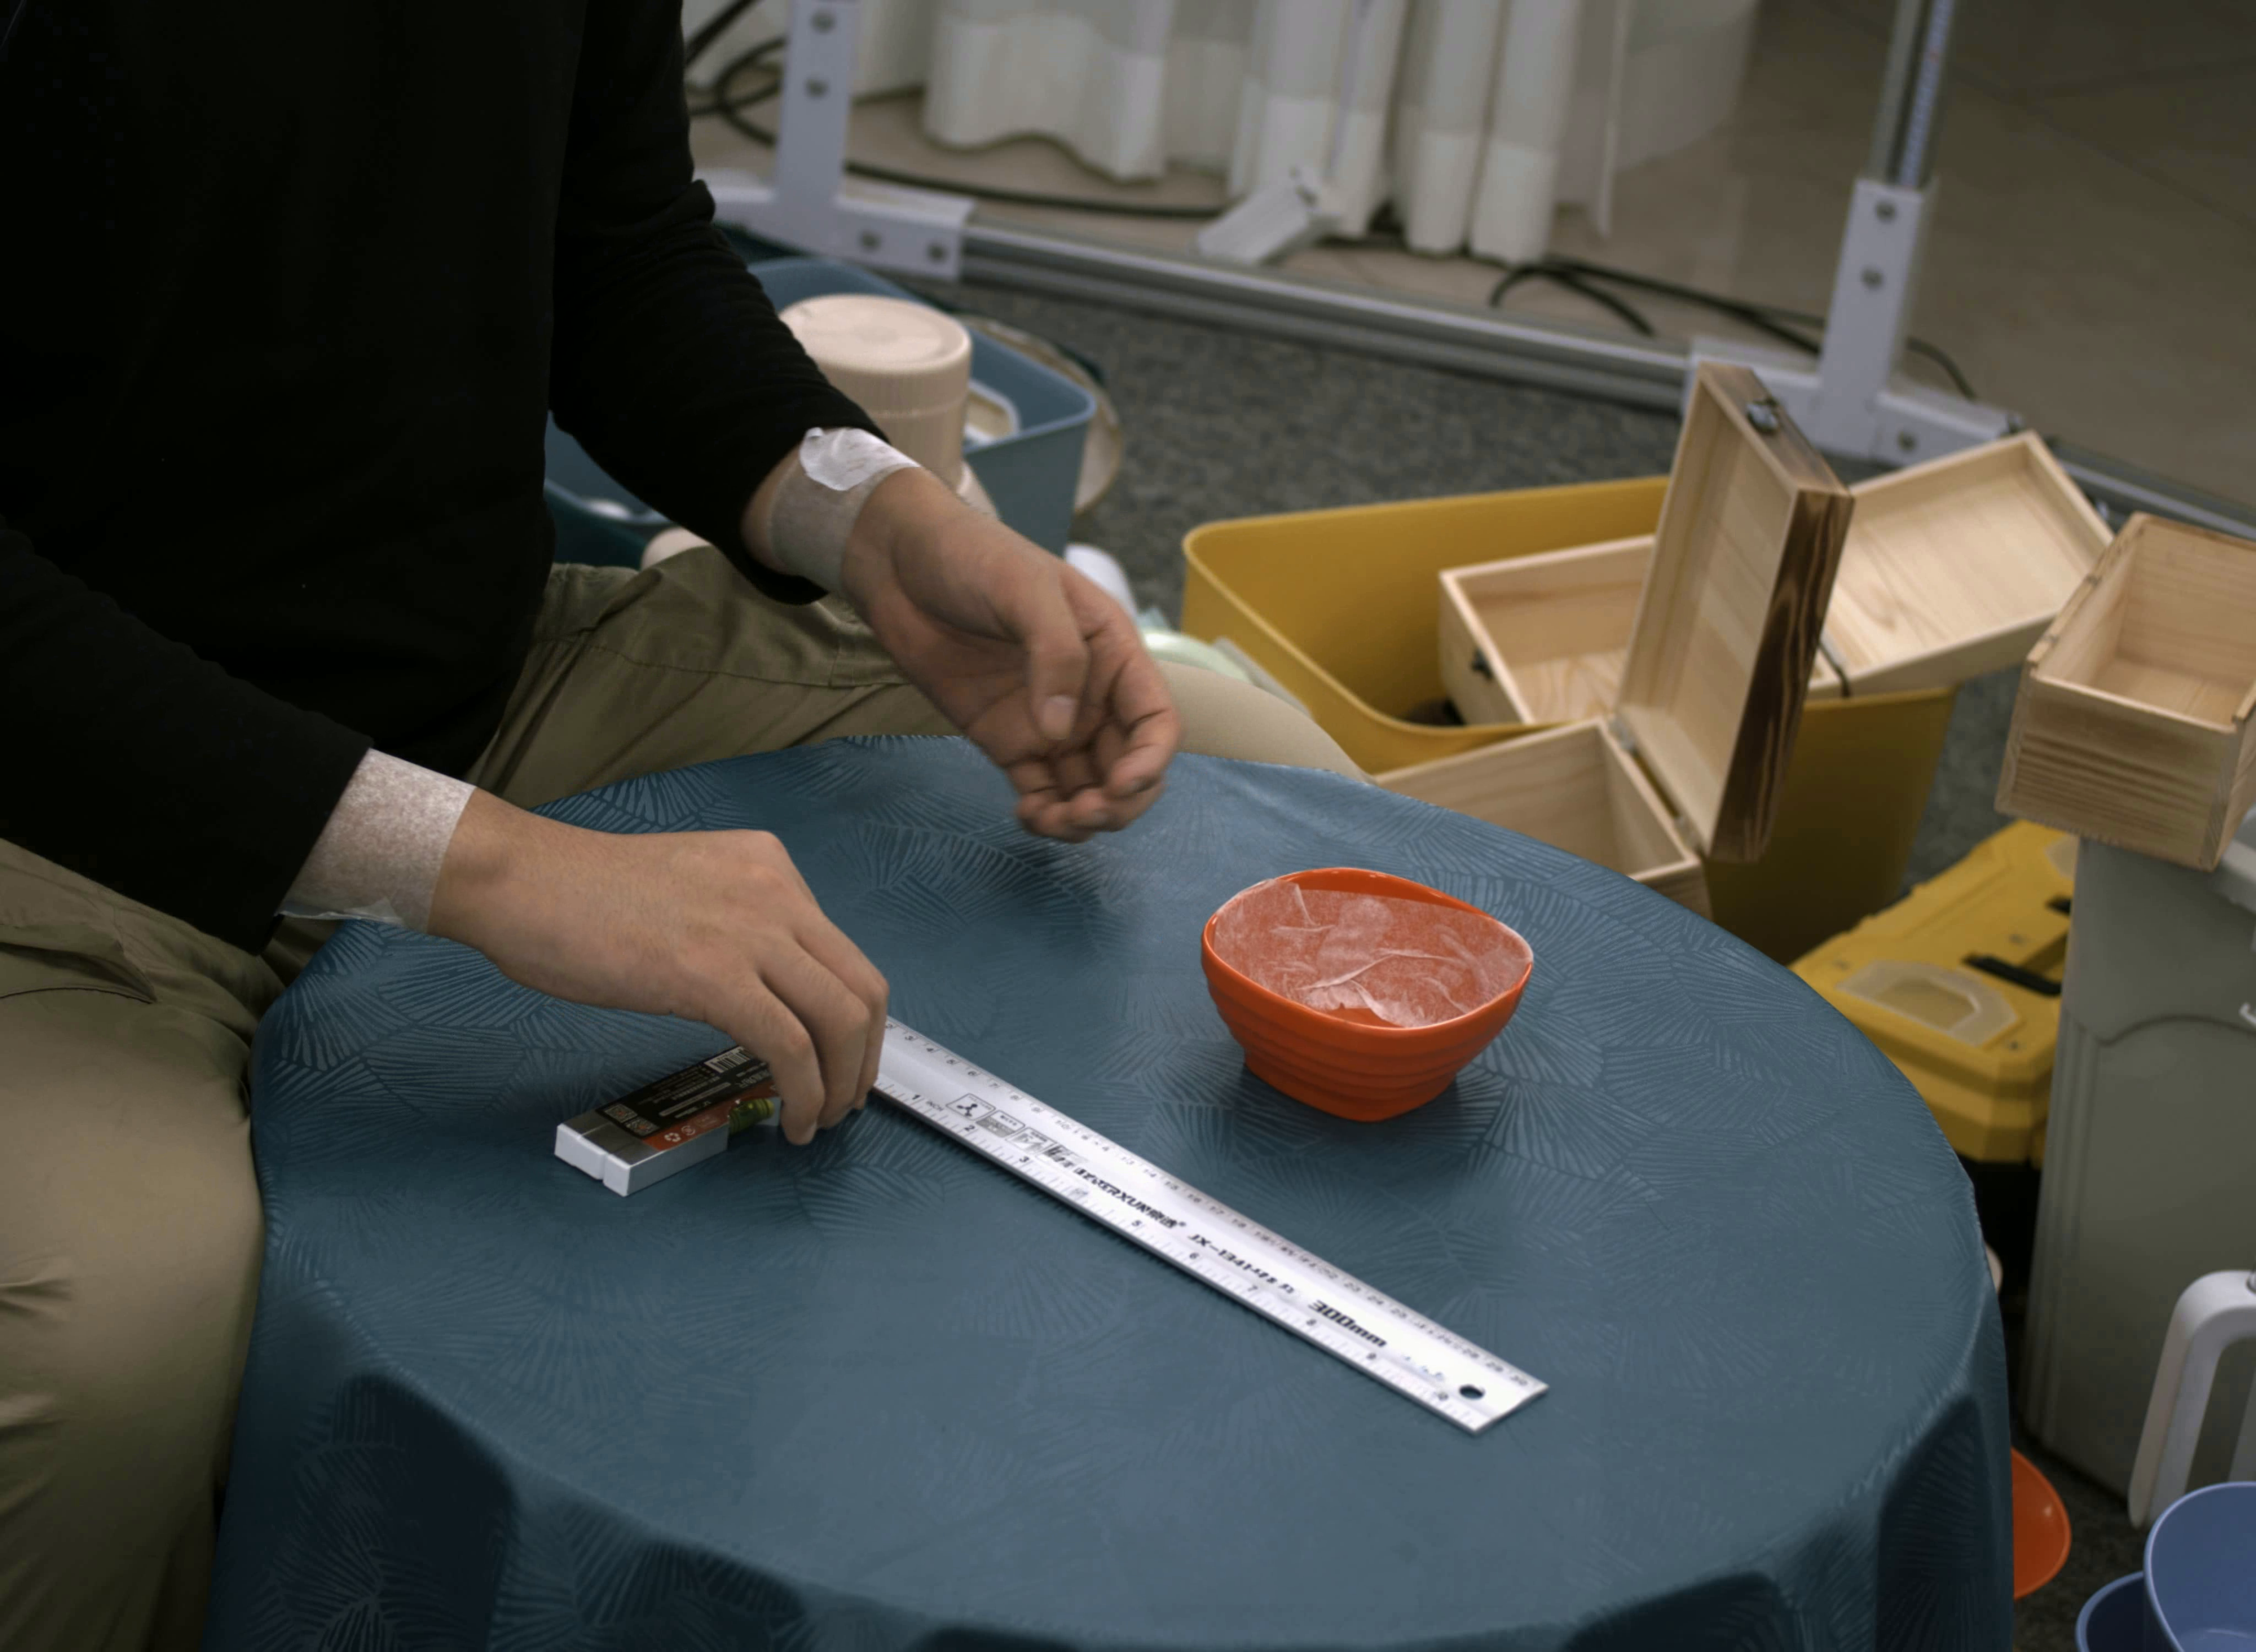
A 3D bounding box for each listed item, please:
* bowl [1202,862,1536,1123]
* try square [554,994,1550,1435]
[{"bbox_3d":[0.082,0.063,1.881,0.118,0.051,0.119,5,29,-3],"label":"bowl"},{"bbox_3d":[-0.029,0.144,1.751,0.315,0.016,0.151,28,36,33],"label":"try square"}]
